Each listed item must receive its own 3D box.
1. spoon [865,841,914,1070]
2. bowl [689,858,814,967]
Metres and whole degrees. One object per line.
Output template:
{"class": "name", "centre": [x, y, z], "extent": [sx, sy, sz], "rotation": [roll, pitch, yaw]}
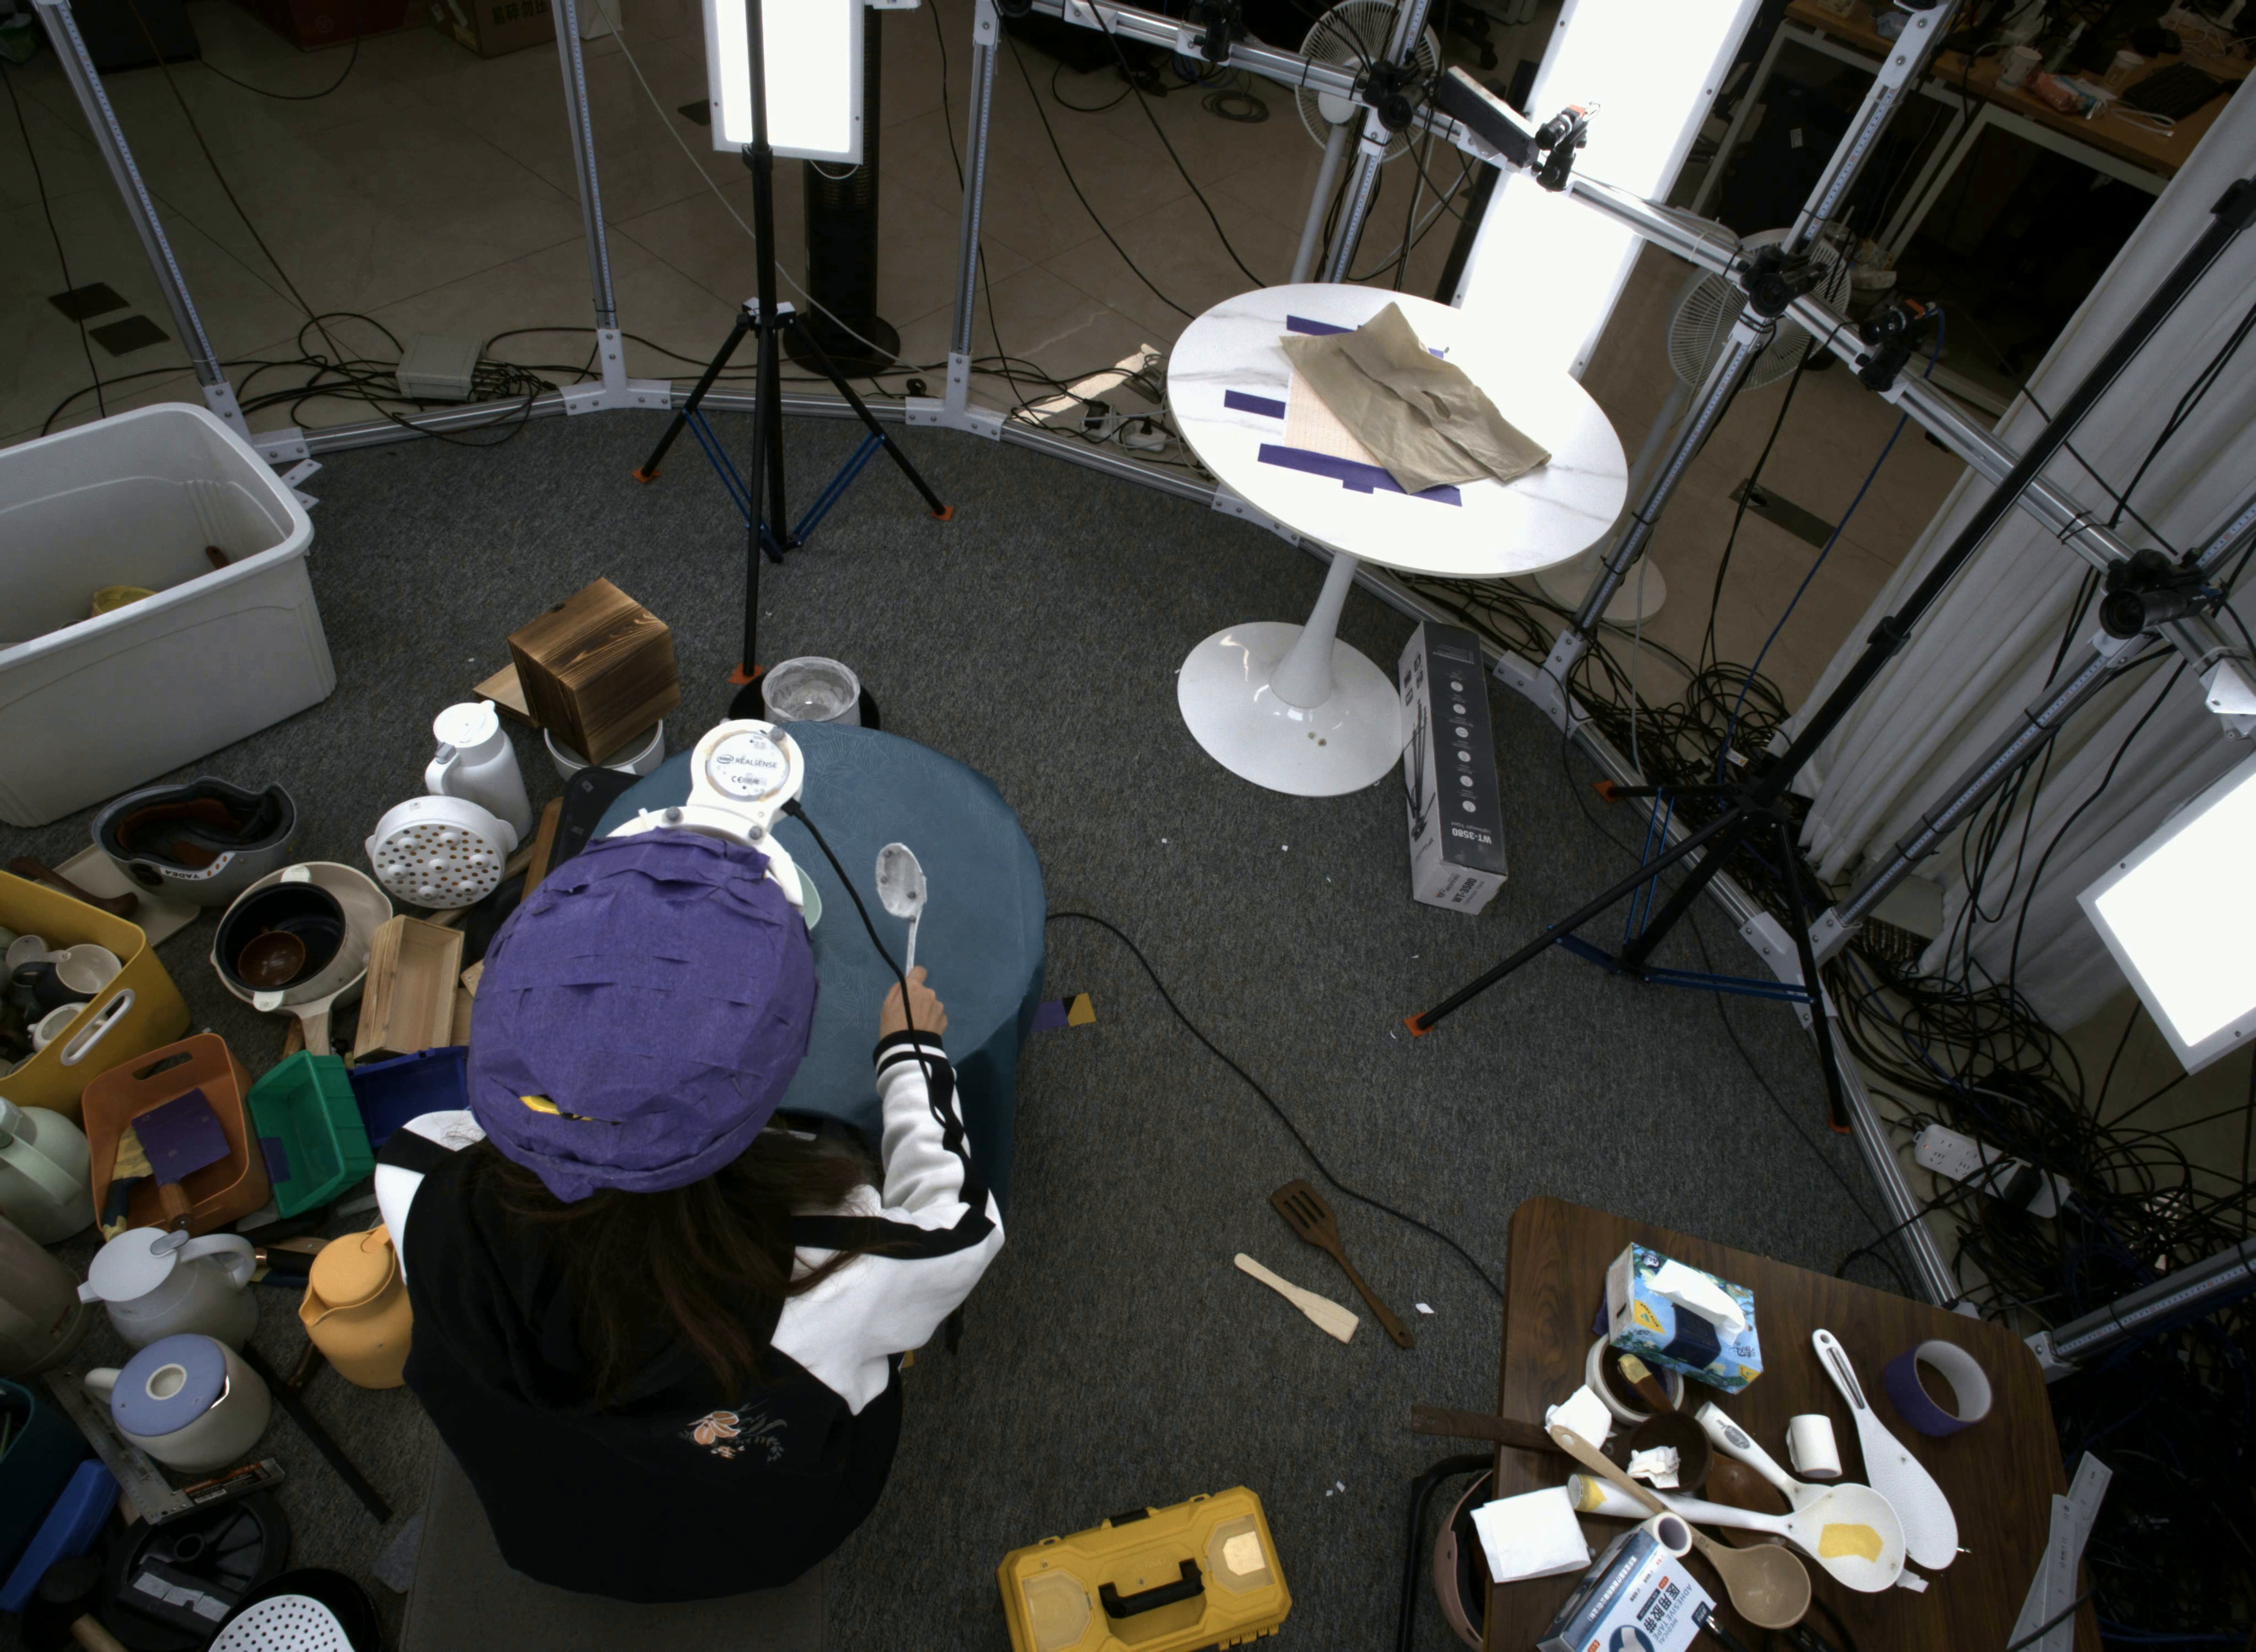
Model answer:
{"class": "spoon", "centre": [-0.290, 0.147, 1.511], "extent": [0.061, 0.100, 0.273], "rotation": [21, 52, -27]}
{"class": "bowl", "centre": [-0.461, 0.114, 1.590], "extent": [0.151, 0.060, 0.149], "rotation": [8, 52, -8]}
